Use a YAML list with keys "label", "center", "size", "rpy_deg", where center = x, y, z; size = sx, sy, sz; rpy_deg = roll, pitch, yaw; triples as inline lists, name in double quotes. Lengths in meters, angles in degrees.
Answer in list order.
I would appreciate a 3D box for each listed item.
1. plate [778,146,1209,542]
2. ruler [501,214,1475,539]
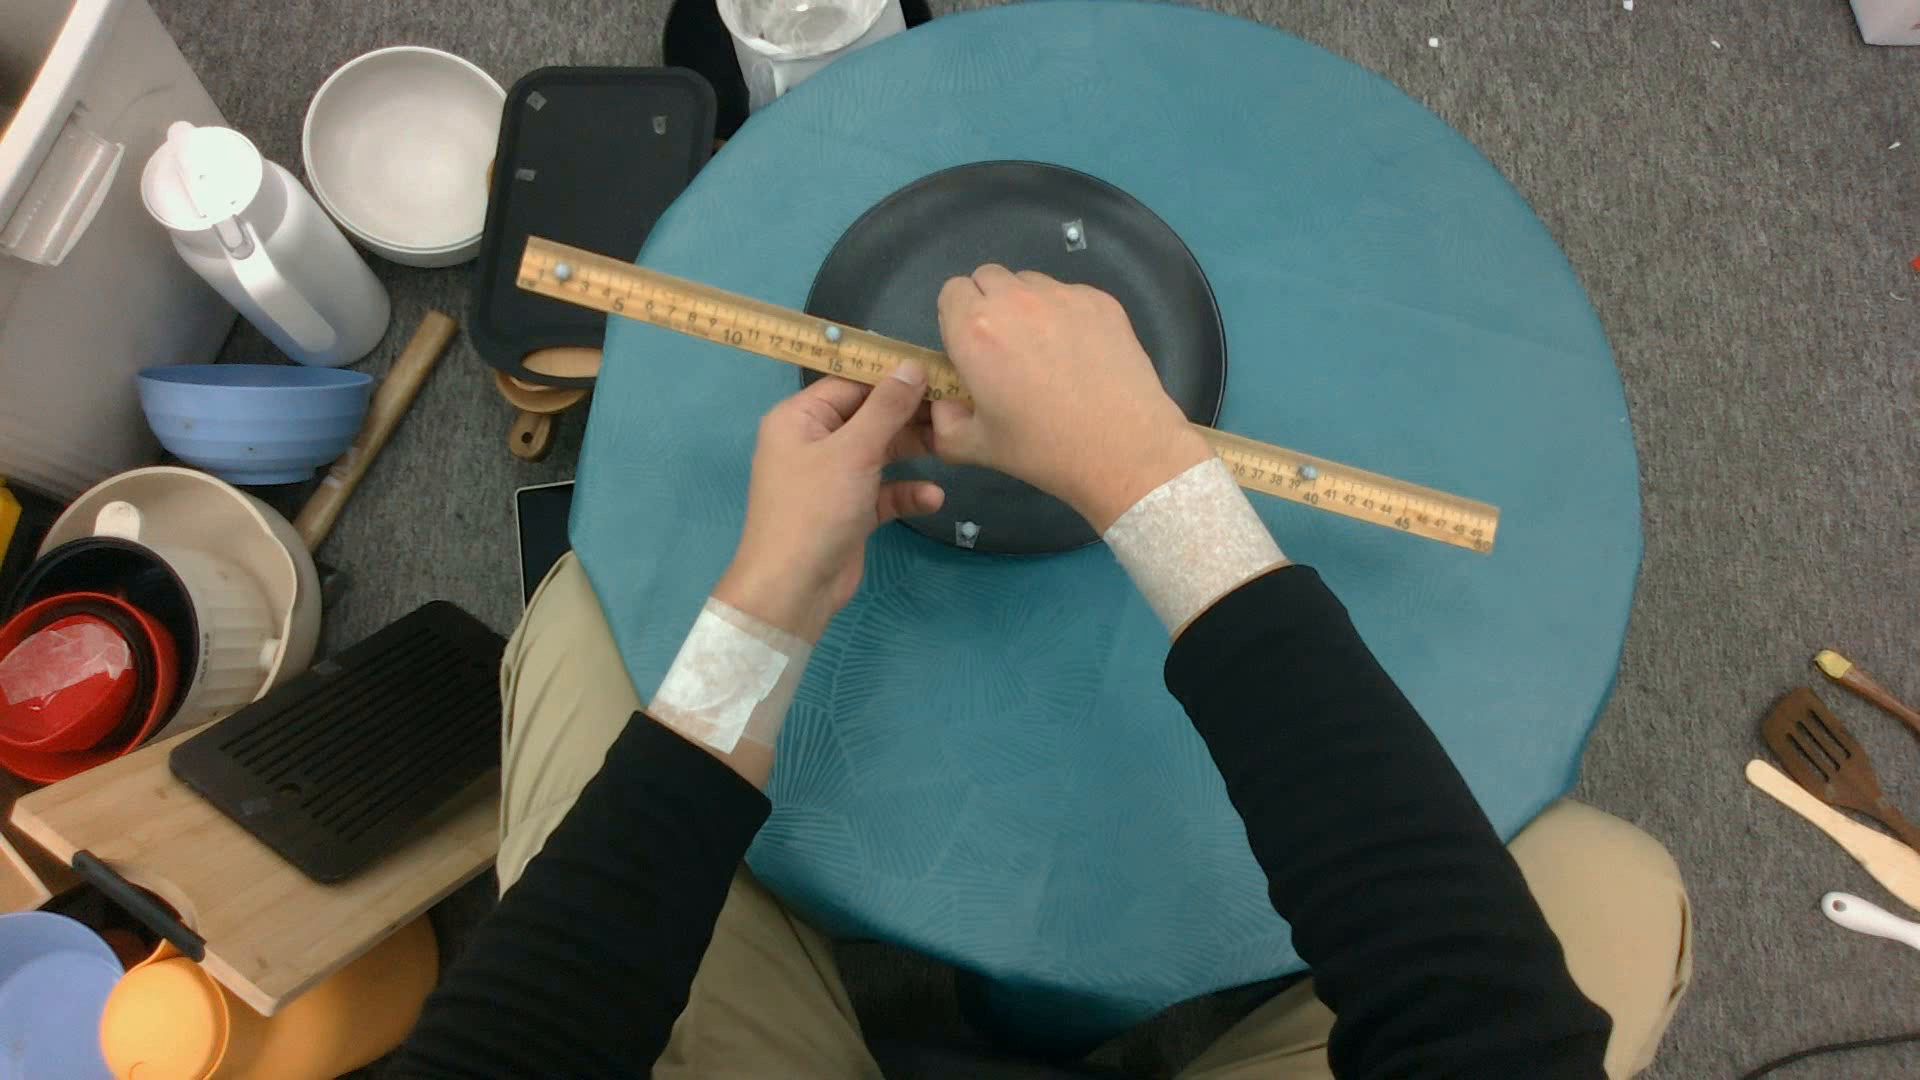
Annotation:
- label: "plate"
  center: [0.019, -0.113, 0.785]
  size: [0.244, 0.023, 0.245]
  rpy_deg: [1, 74, -3]
- label: "ruler"
  center: [0.025, -0.076, 0.680]
  size: [0.500, 0.006, 0.027]
  rpy_deg: [15, 87, -7]
